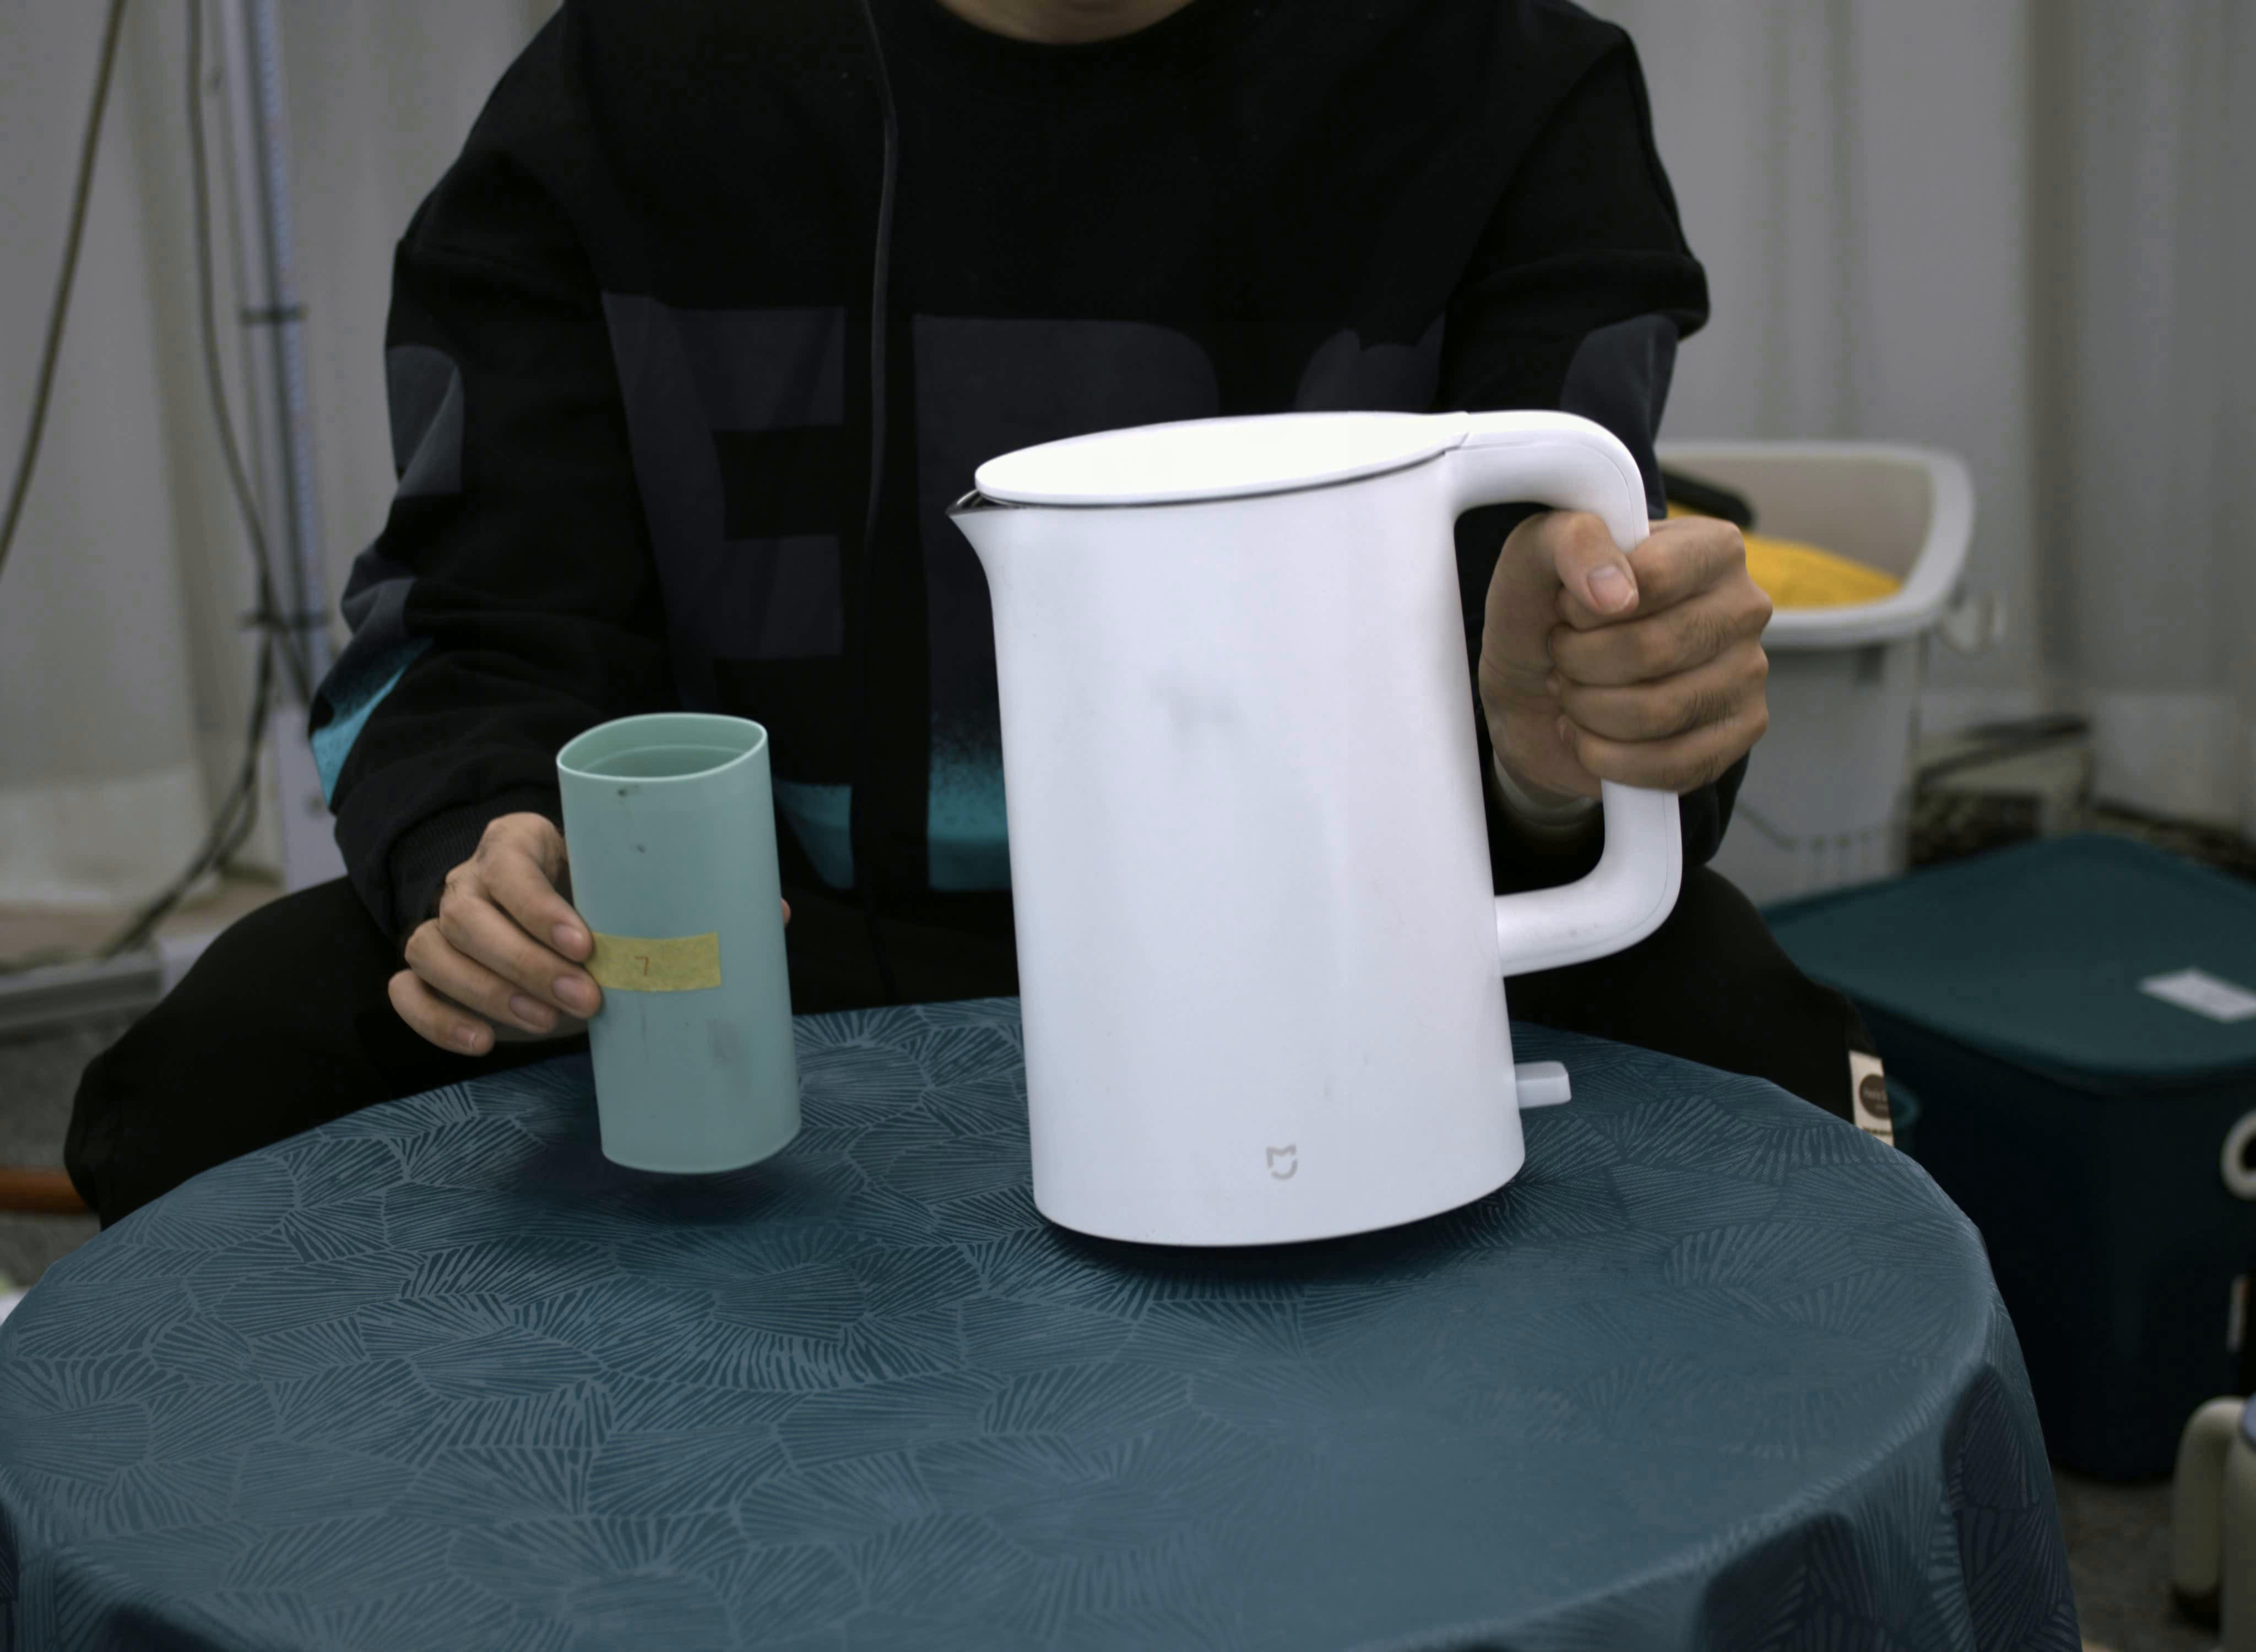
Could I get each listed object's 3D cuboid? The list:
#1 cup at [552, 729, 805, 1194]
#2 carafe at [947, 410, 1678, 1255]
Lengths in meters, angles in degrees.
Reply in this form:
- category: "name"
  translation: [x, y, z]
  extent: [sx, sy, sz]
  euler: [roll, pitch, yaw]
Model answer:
- category: "cup"
  translation: [-0.138, 0.041, 1.703]
  extent: [0.066, 0.131, 0.067]
  euler: [-5, 18, 1]
- category: "carafe"
  translation: [0.061, -0.004, 1.668]
  extent: [0.212, 0.239, 0.153]
  euler: [-6, 12, -2]
